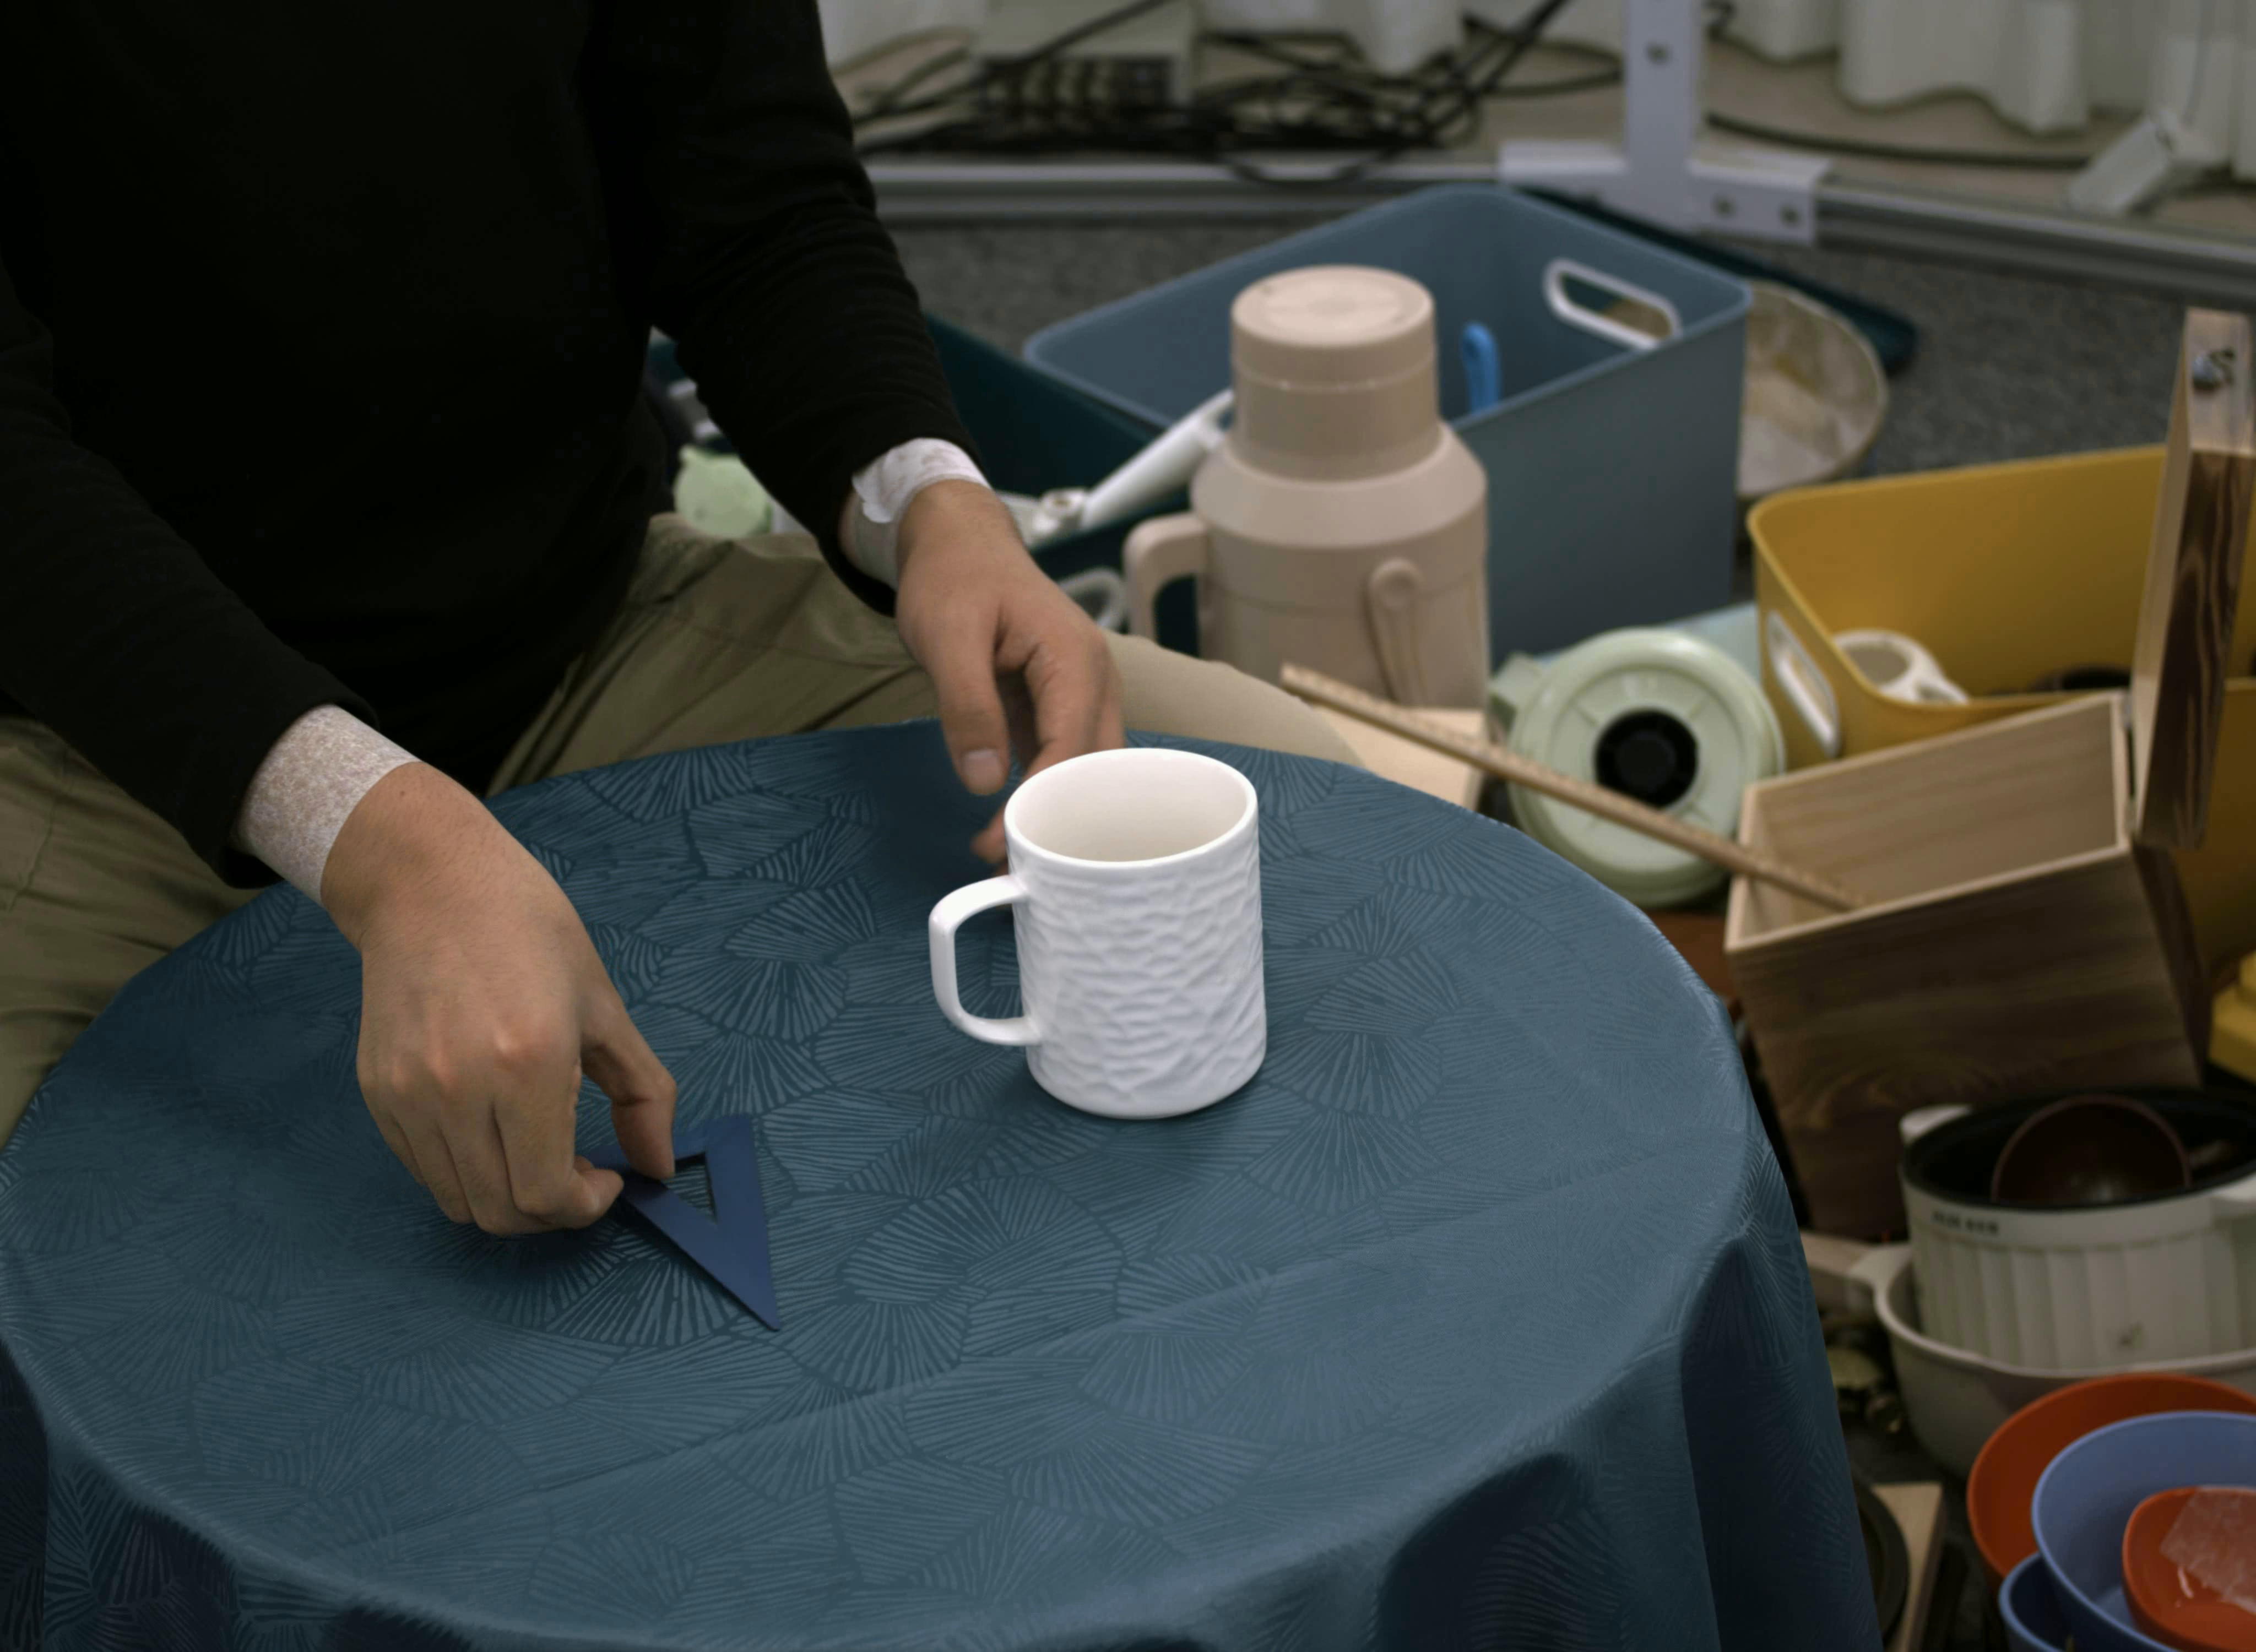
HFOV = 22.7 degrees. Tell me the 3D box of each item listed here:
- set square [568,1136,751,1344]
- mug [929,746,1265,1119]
[{"bbox_3d":[-0.154,0.132,1.839,0.061,0.006,0.134,6,26,-7],"label":"set square"},{"bbox_3d":[-0.011,0.041,1.908,0.119,0.101,0.085,-14,29,-21],"label":"mug"}]
